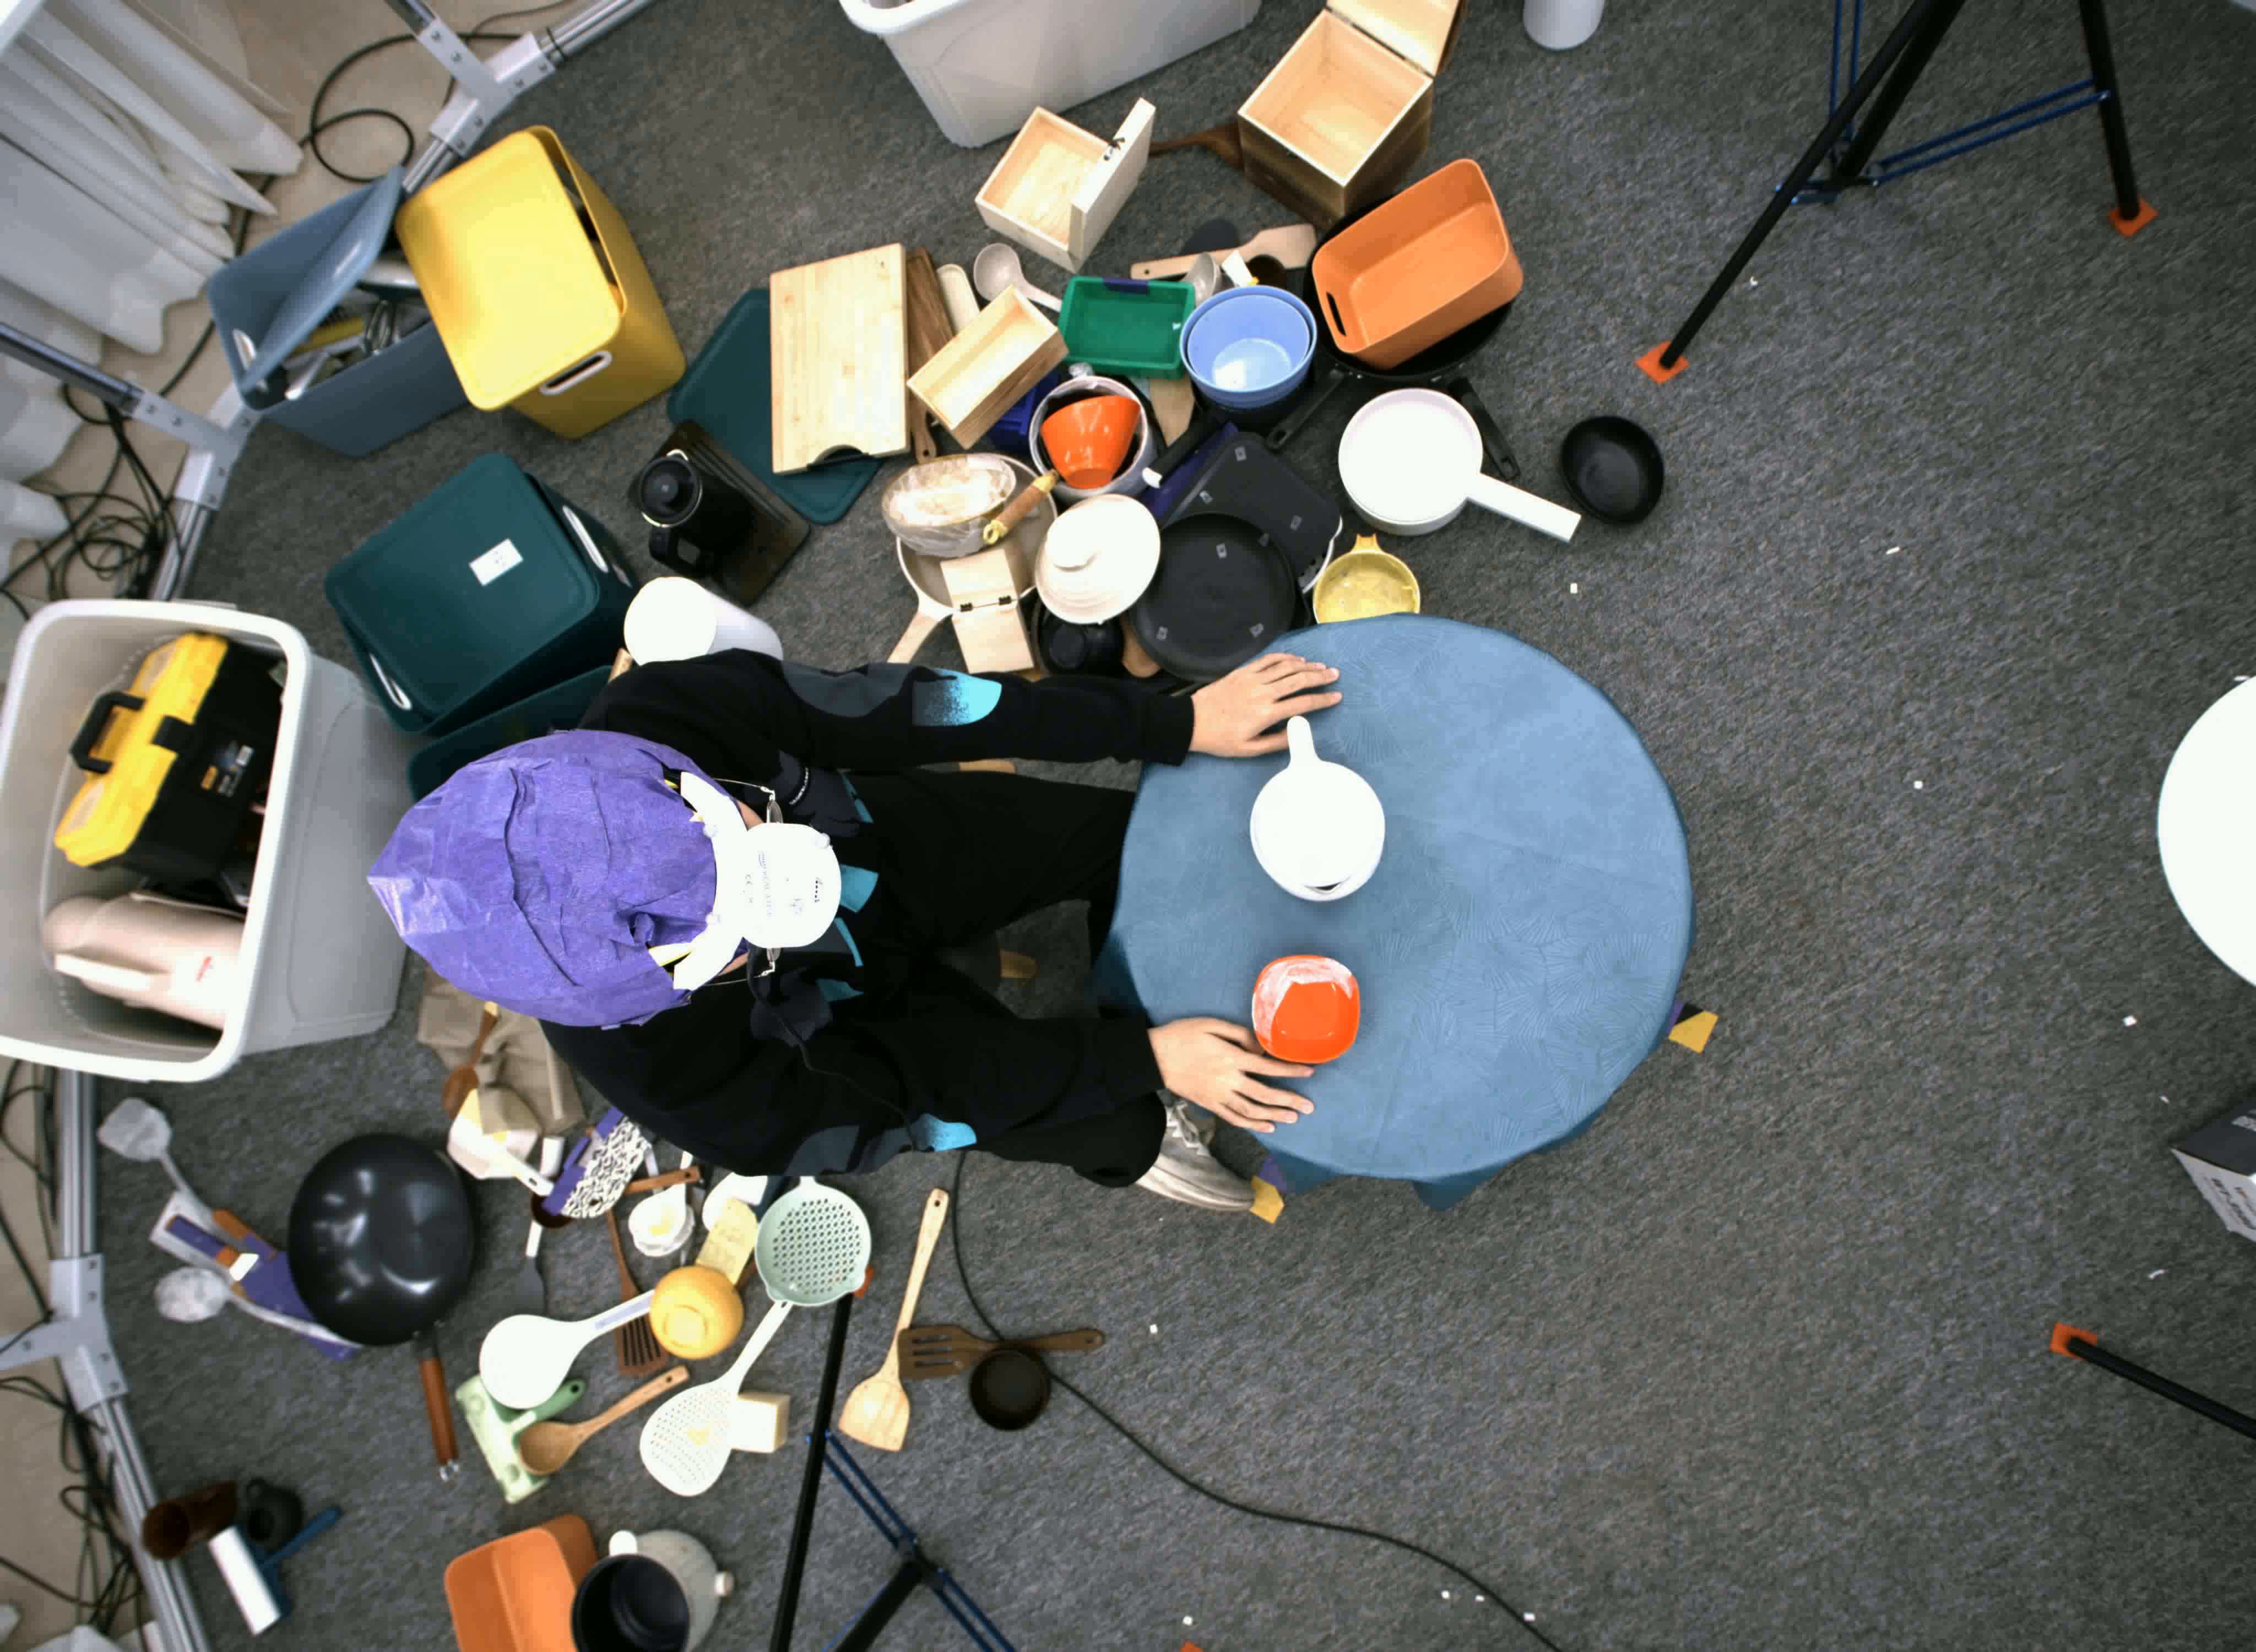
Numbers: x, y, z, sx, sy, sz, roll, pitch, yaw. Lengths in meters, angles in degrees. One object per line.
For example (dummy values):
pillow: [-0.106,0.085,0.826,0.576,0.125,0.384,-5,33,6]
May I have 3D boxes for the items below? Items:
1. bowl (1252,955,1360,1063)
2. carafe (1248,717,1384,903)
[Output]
bowl: [0.184,0.188,1.438,0.119,0.051,0.118,0,88,8]
carafe: [0.184,-0.017,1.389,0.133,0.183,0.189,-13,82,7]
